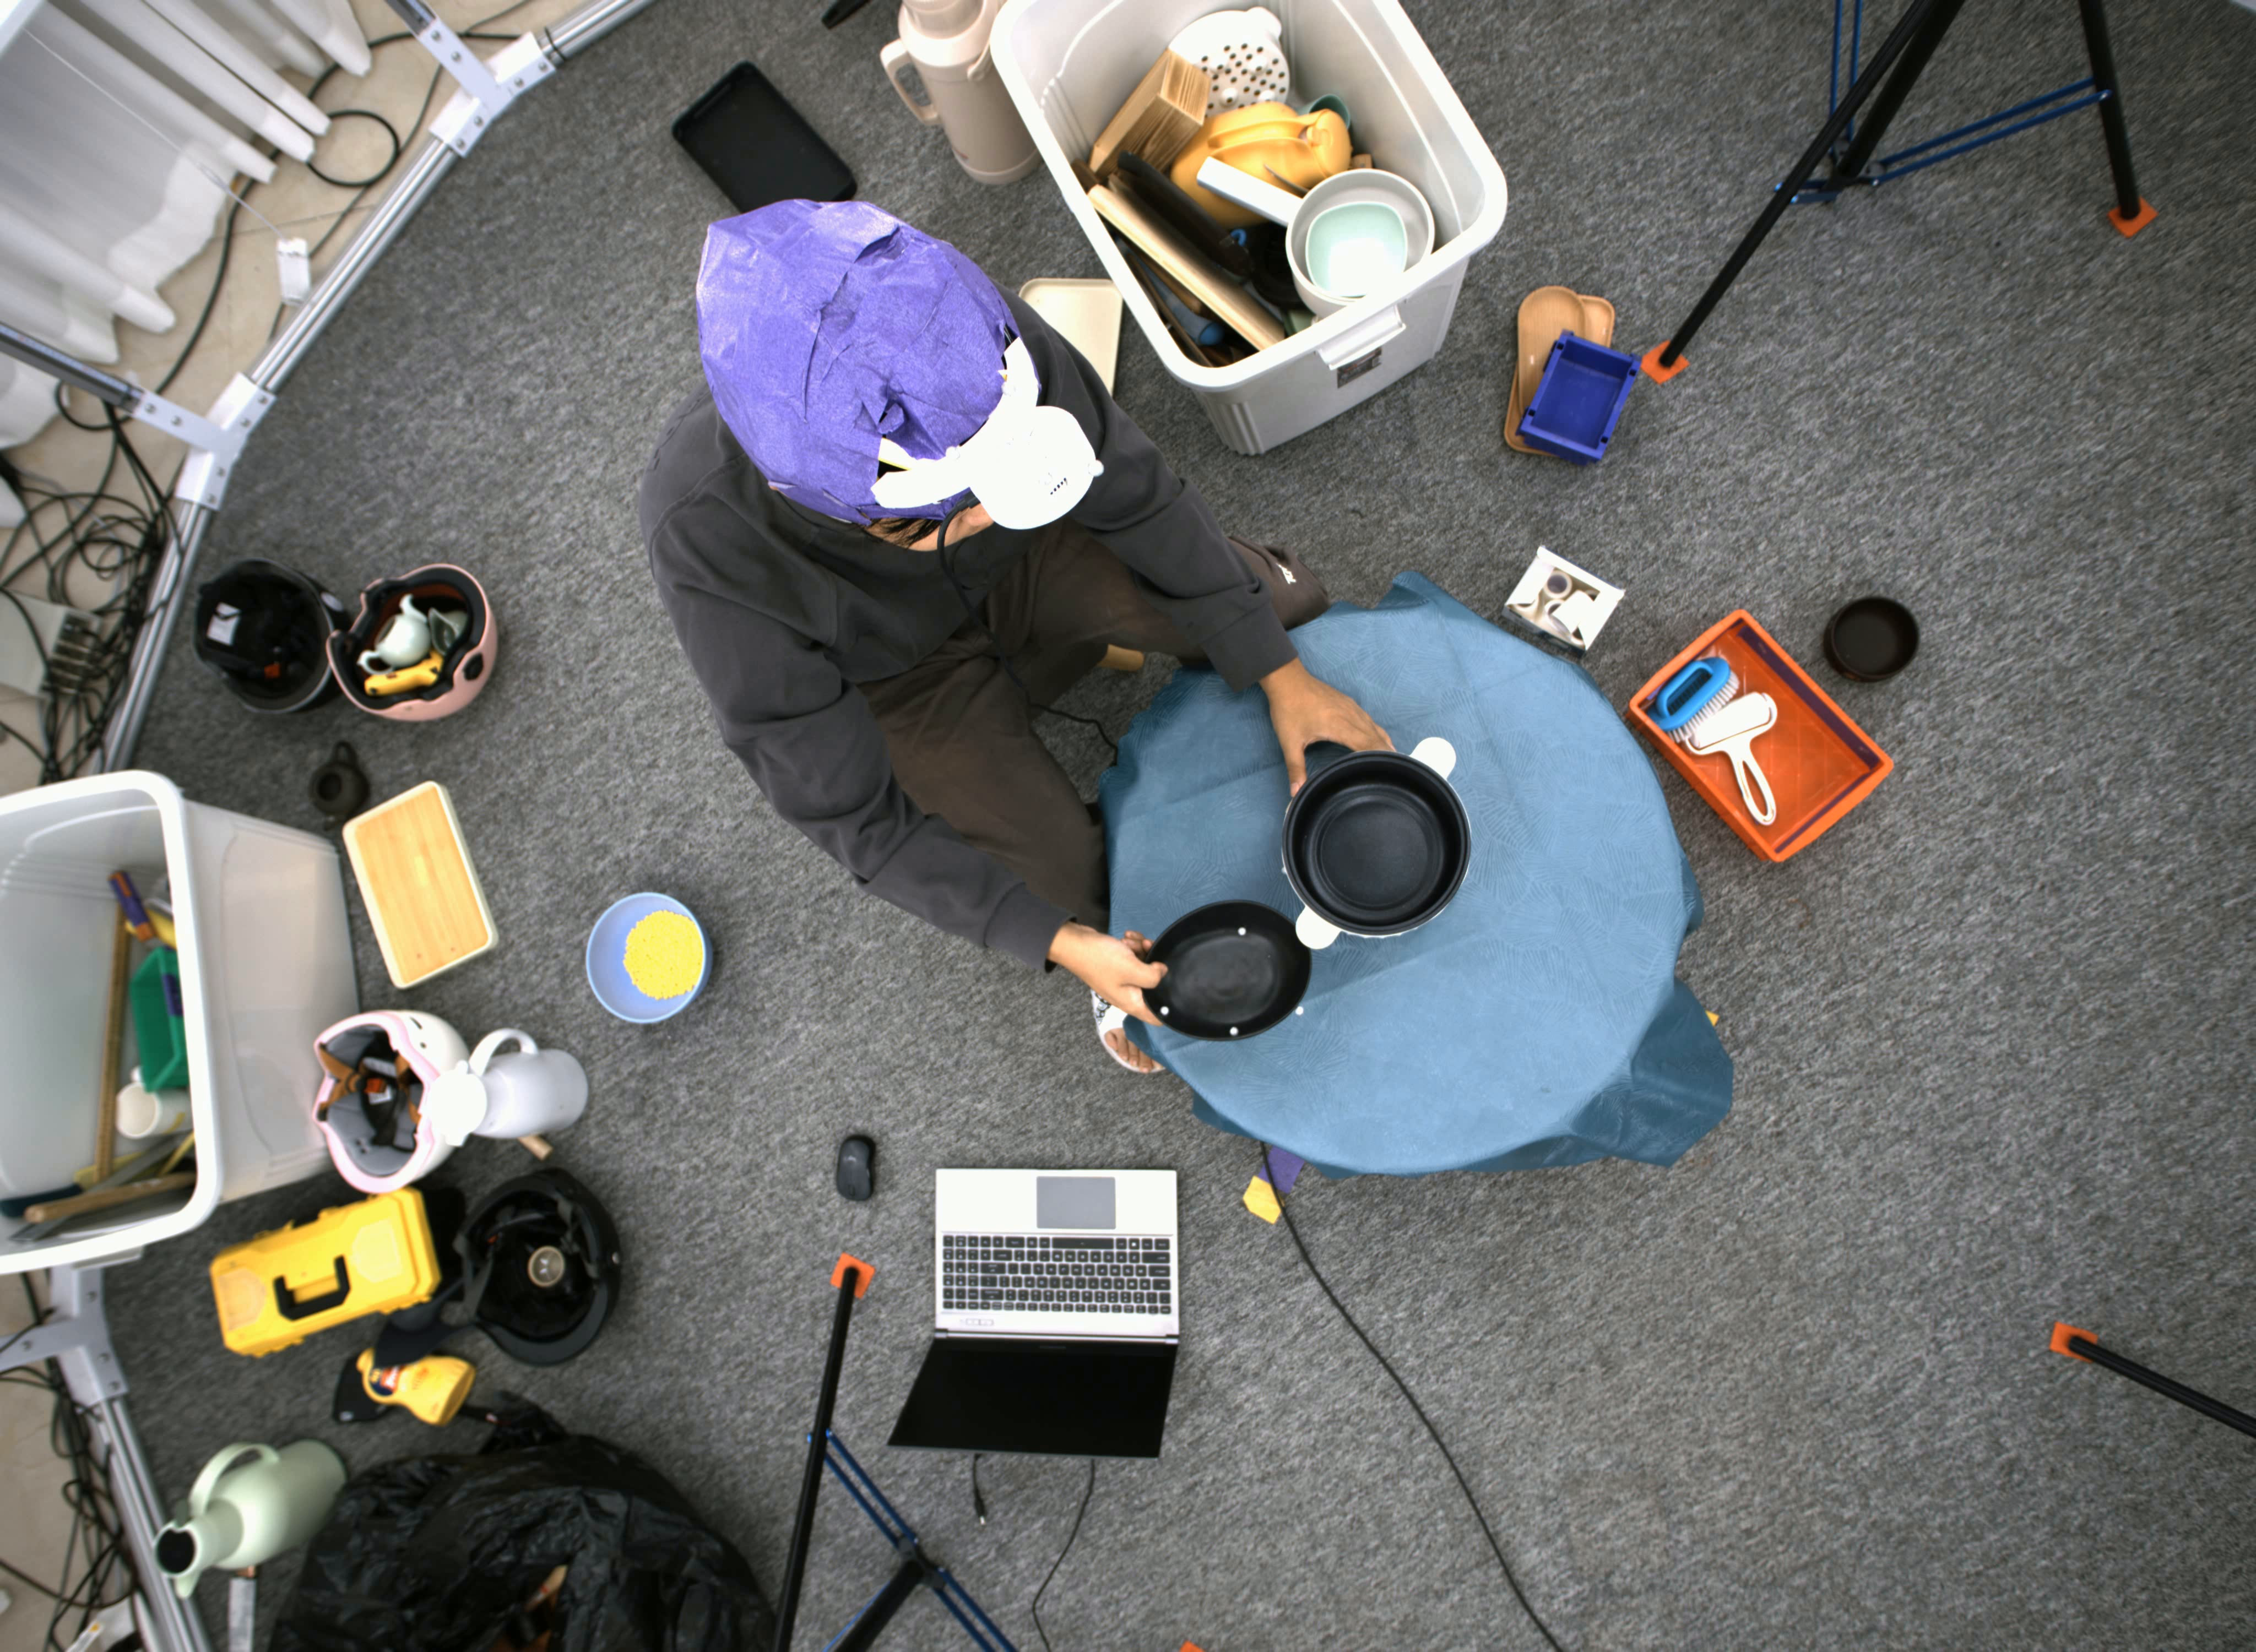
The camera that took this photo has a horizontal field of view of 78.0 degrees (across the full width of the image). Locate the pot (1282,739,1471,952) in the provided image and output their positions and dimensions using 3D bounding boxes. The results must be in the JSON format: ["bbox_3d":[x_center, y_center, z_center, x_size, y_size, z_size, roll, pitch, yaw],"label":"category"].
[{"bbox_3d":[0.244,0.022,1.398,0.190,0.143,0.240,34,90,8],"label":"pot"}]

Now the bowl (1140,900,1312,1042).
[{"bbox_3d":[0.099,0.149,1.374,0.171,0.067,0.135,-16,73,4],"label":"bowl"}]
